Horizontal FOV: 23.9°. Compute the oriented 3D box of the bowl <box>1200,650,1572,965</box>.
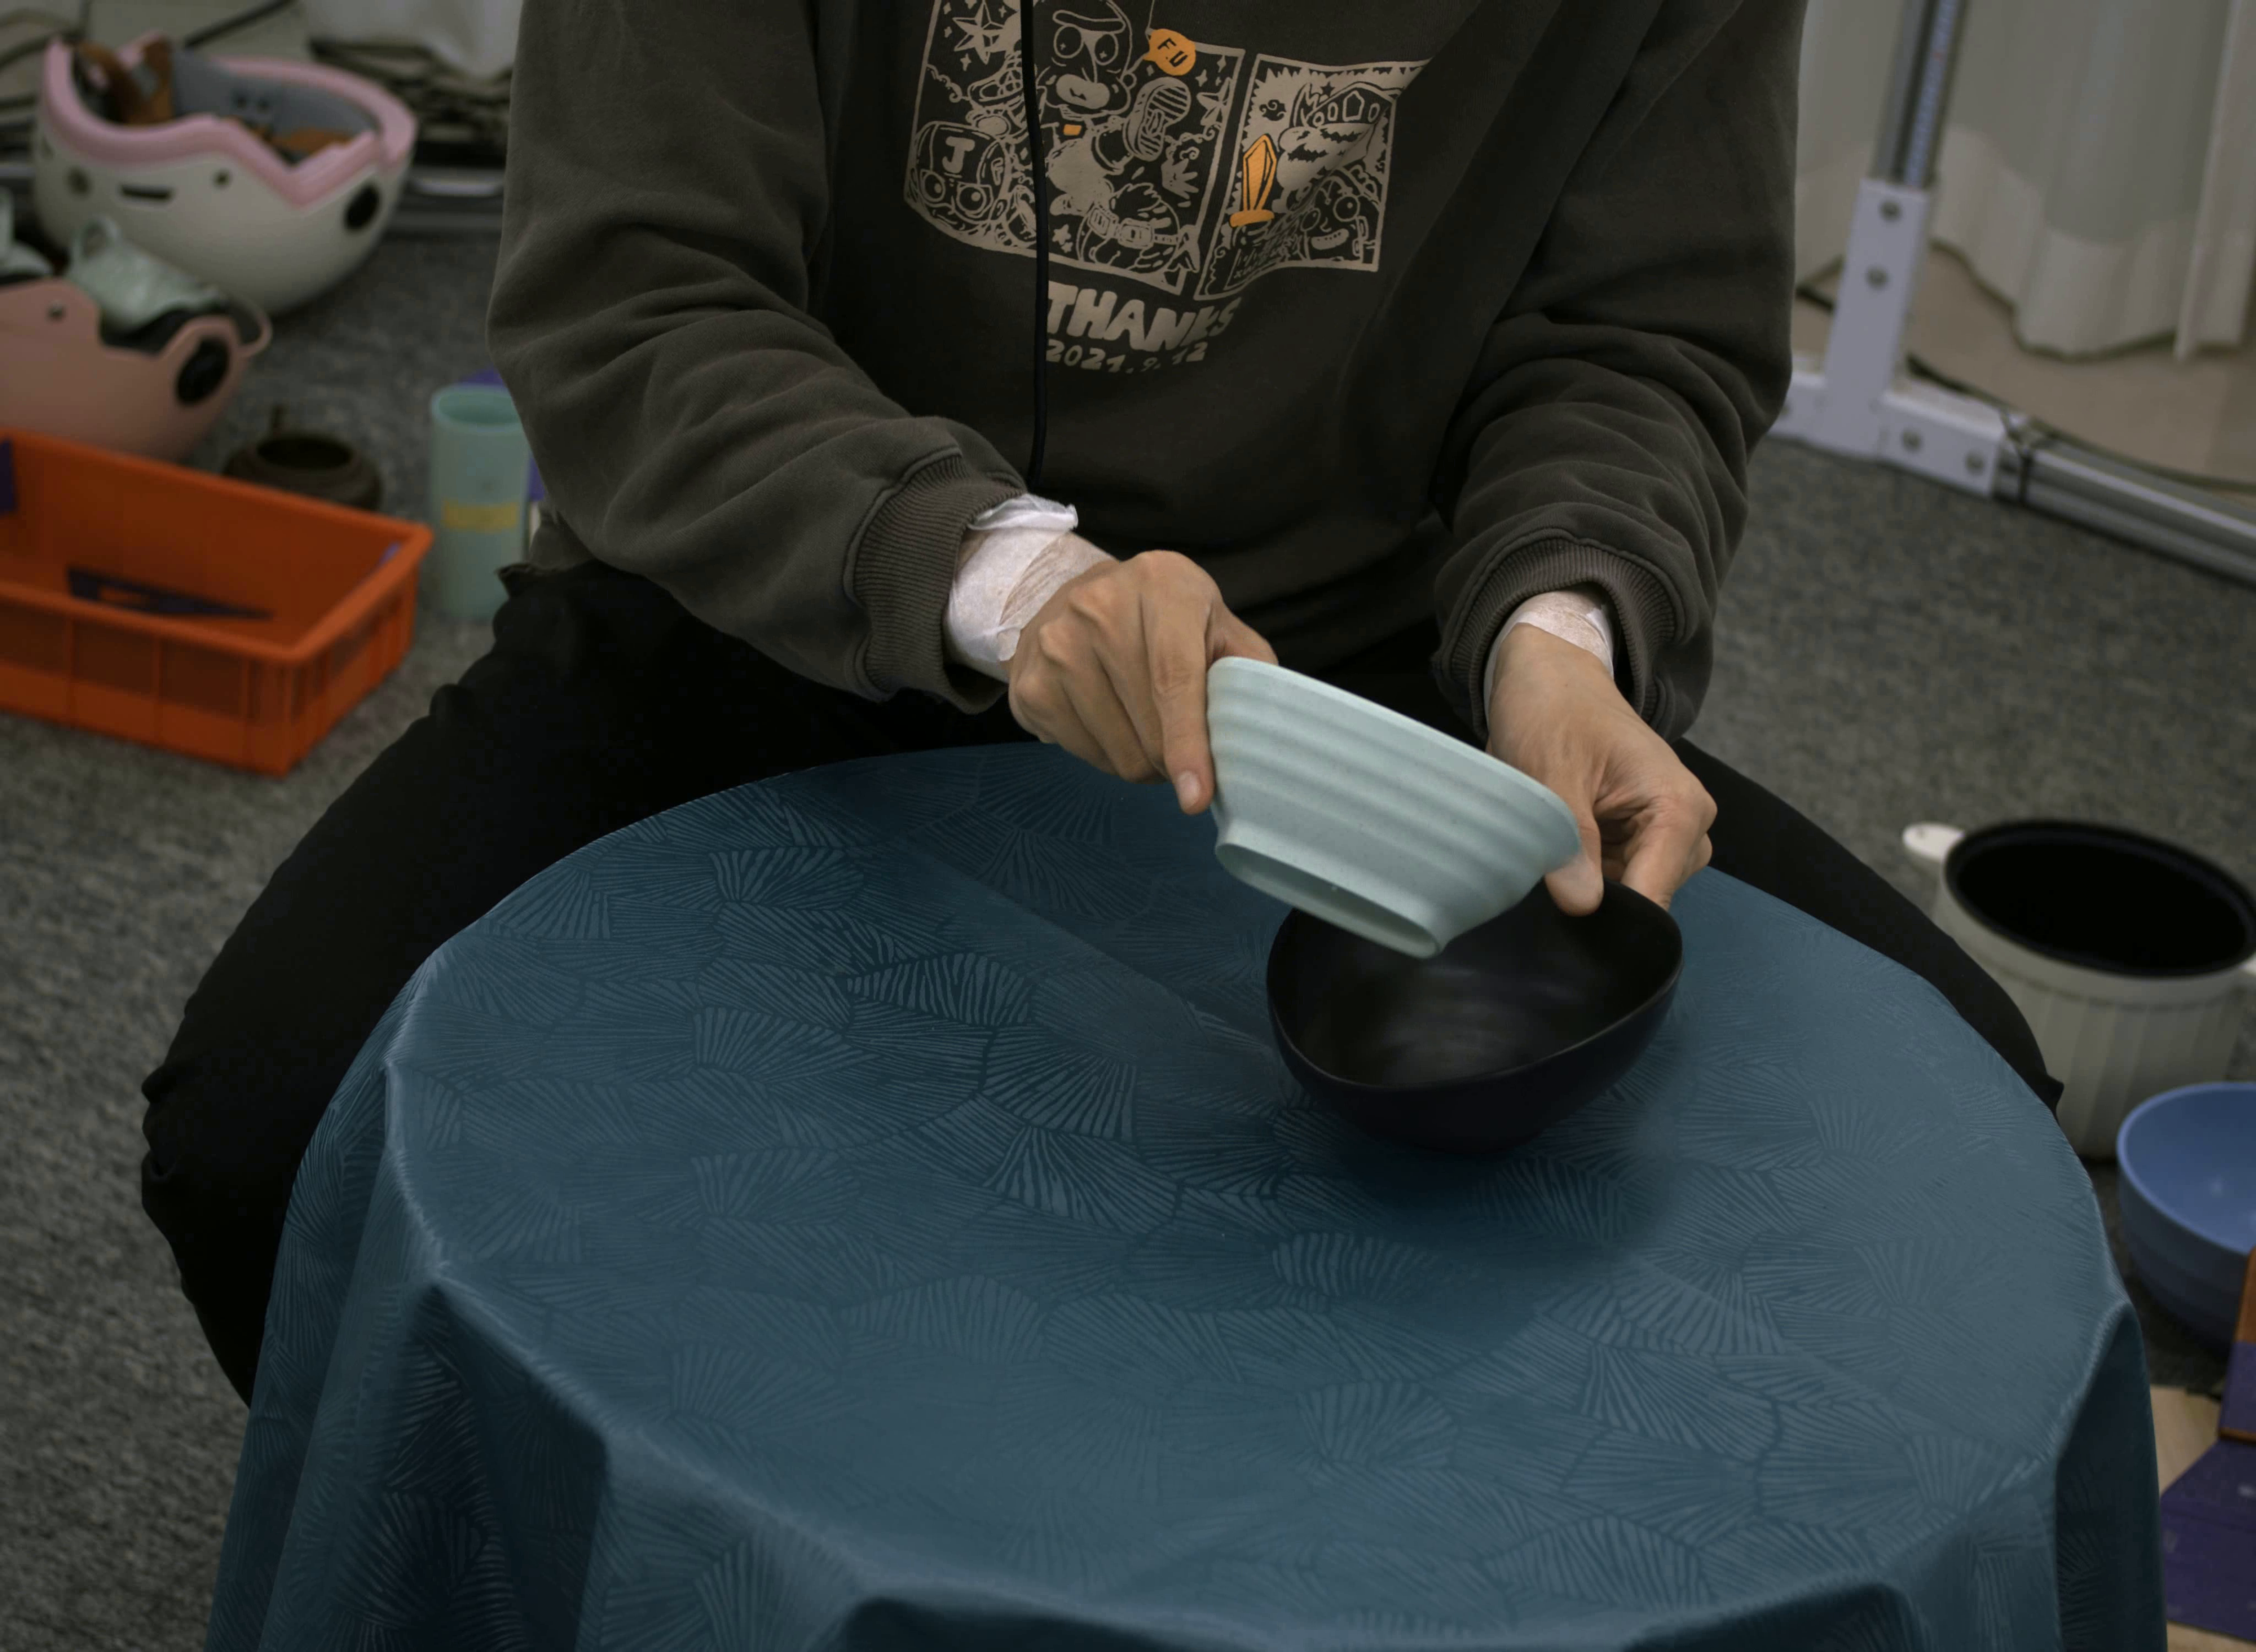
[{"bbox_3d":[0.078,0.001,1.818,0.151,0.059,0.151,28,-9,4],"label":"bowl"}]

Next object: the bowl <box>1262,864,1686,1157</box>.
[{"bbox_3d":[0.119,0.071,1.853,0.138,0.066,0.170,18,32,29],"label":"bowl"}]
